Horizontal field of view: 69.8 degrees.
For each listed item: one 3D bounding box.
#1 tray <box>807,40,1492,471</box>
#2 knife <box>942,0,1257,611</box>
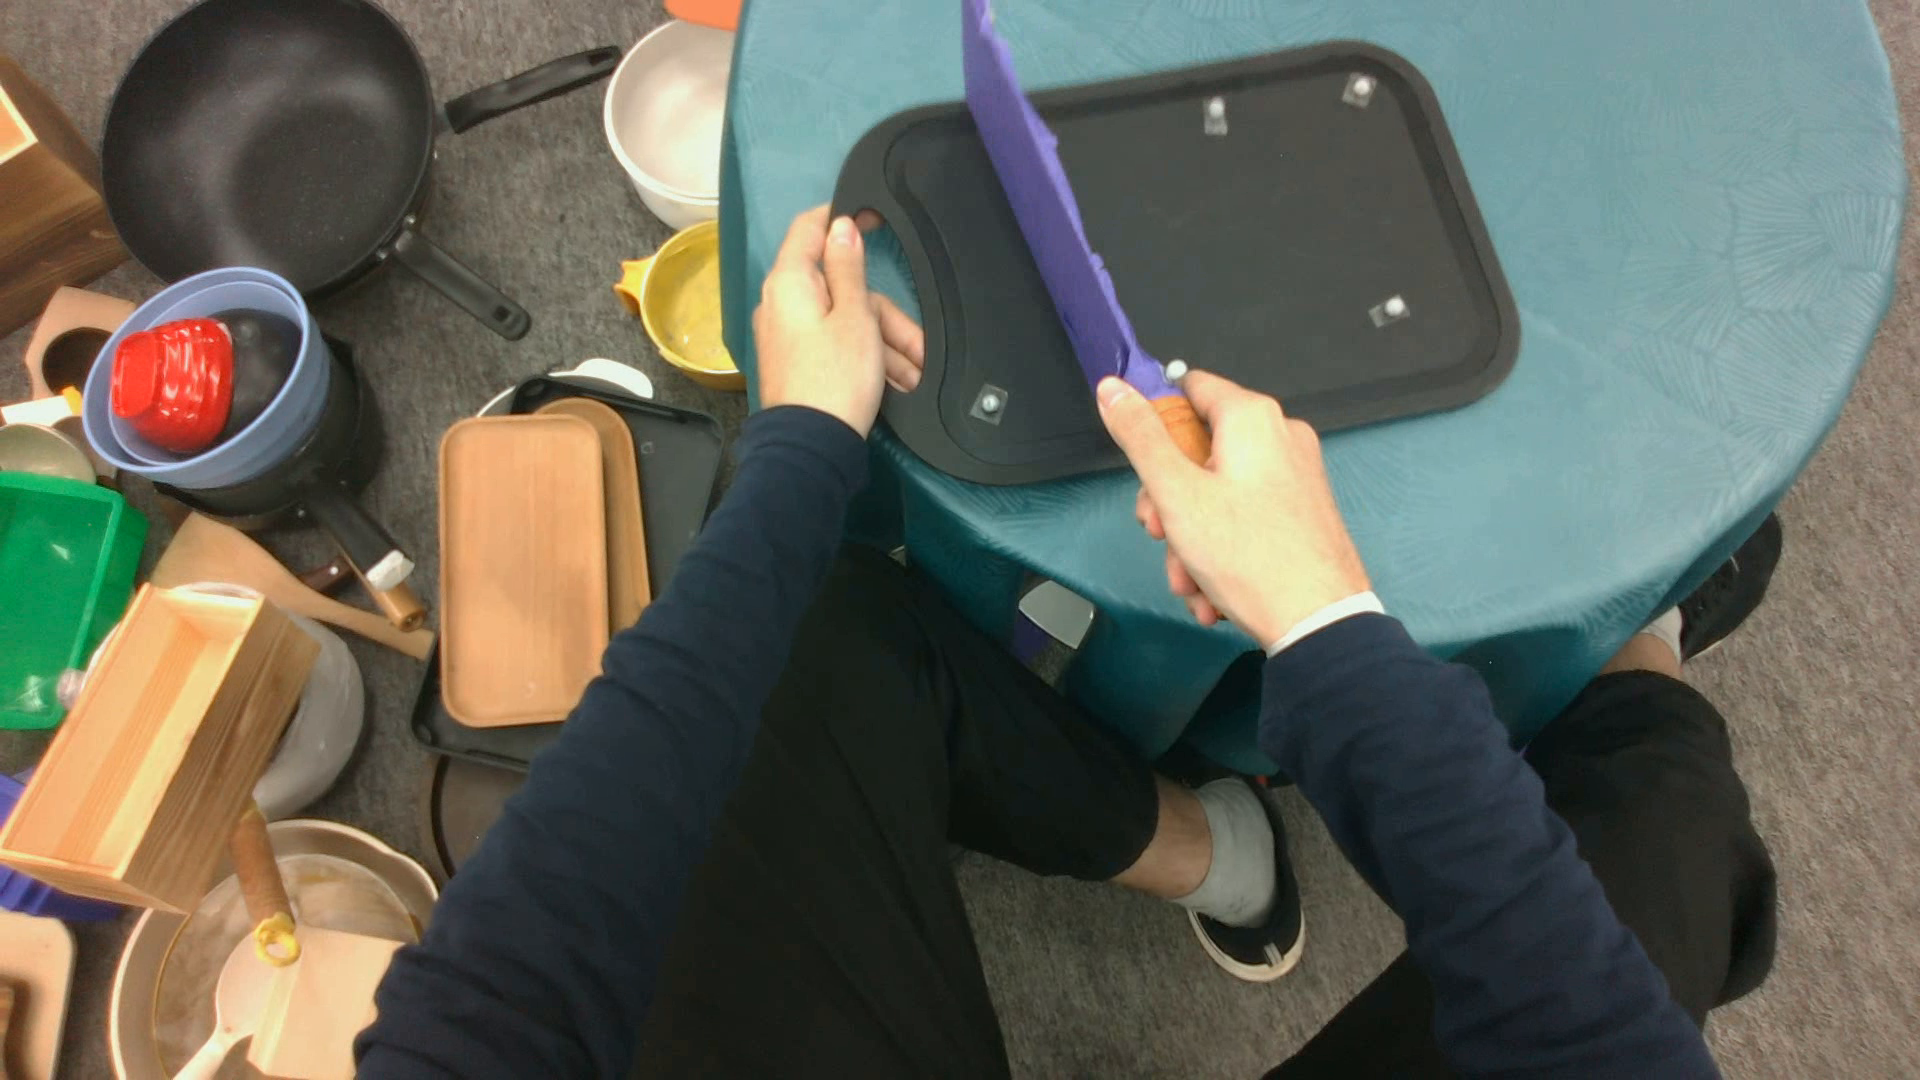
[{"bbox_3d":[0.089,-0.145,0.673,0.326,0.010,0.211,-10,71,-8],"label":"tray"},{"bbox_3d":[0.051,-0.109,0.608,0.032,0.103,0.316,-19,73,-4],"label":"knife"}]
